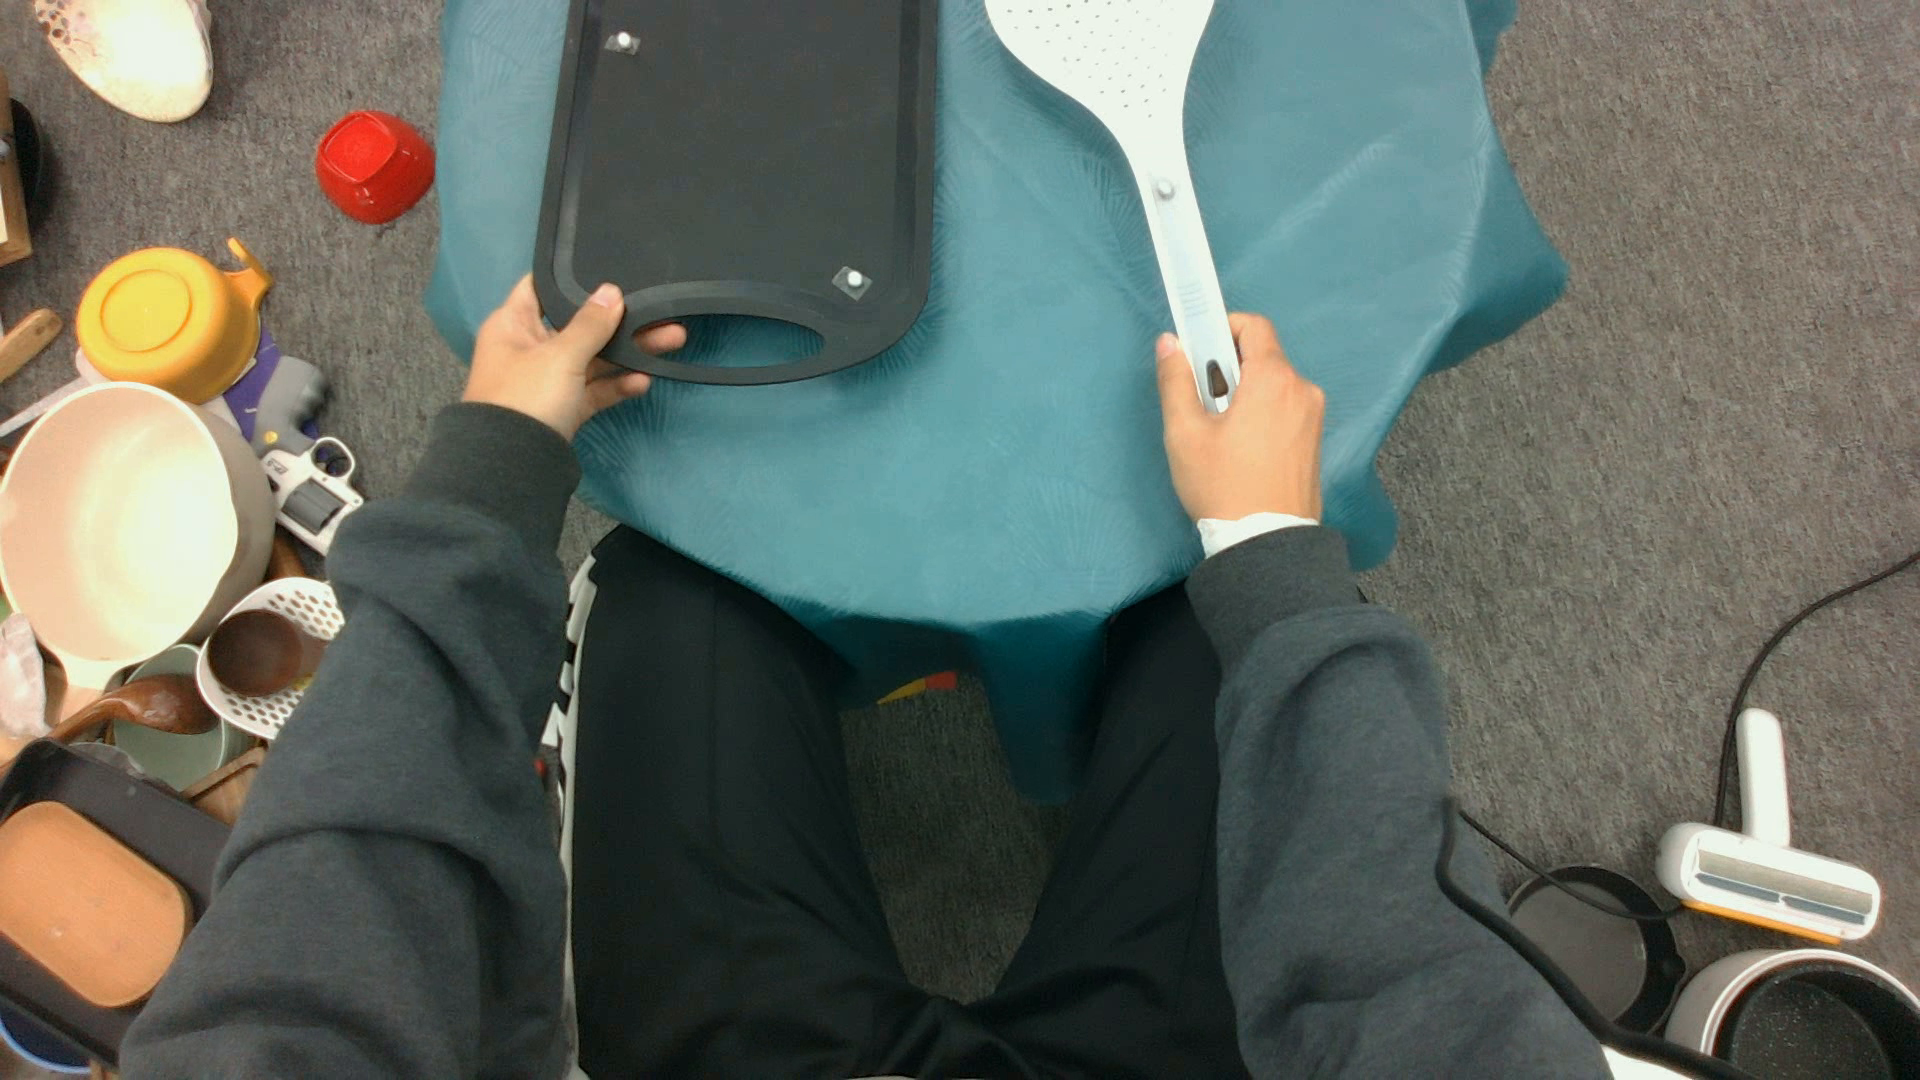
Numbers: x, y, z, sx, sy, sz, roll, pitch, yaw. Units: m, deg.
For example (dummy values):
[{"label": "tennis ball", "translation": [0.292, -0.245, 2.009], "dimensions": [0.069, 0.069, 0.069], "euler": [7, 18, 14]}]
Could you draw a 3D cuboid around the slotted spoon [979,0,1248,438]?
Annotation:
[{"label": "slotted spoon", "translation": [0.098, -0.222, 0.739], "dimensions": [0.136, 0.046, 0.350], "euler": [-17, 74, 19]}]

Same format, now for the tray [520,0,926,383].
[{"label": "tray", "translation": [-0.126, -0.237, 0.763], "dimensions": [0.211, 0.010, 0.326], "euler": [2, 71, -2]}]
